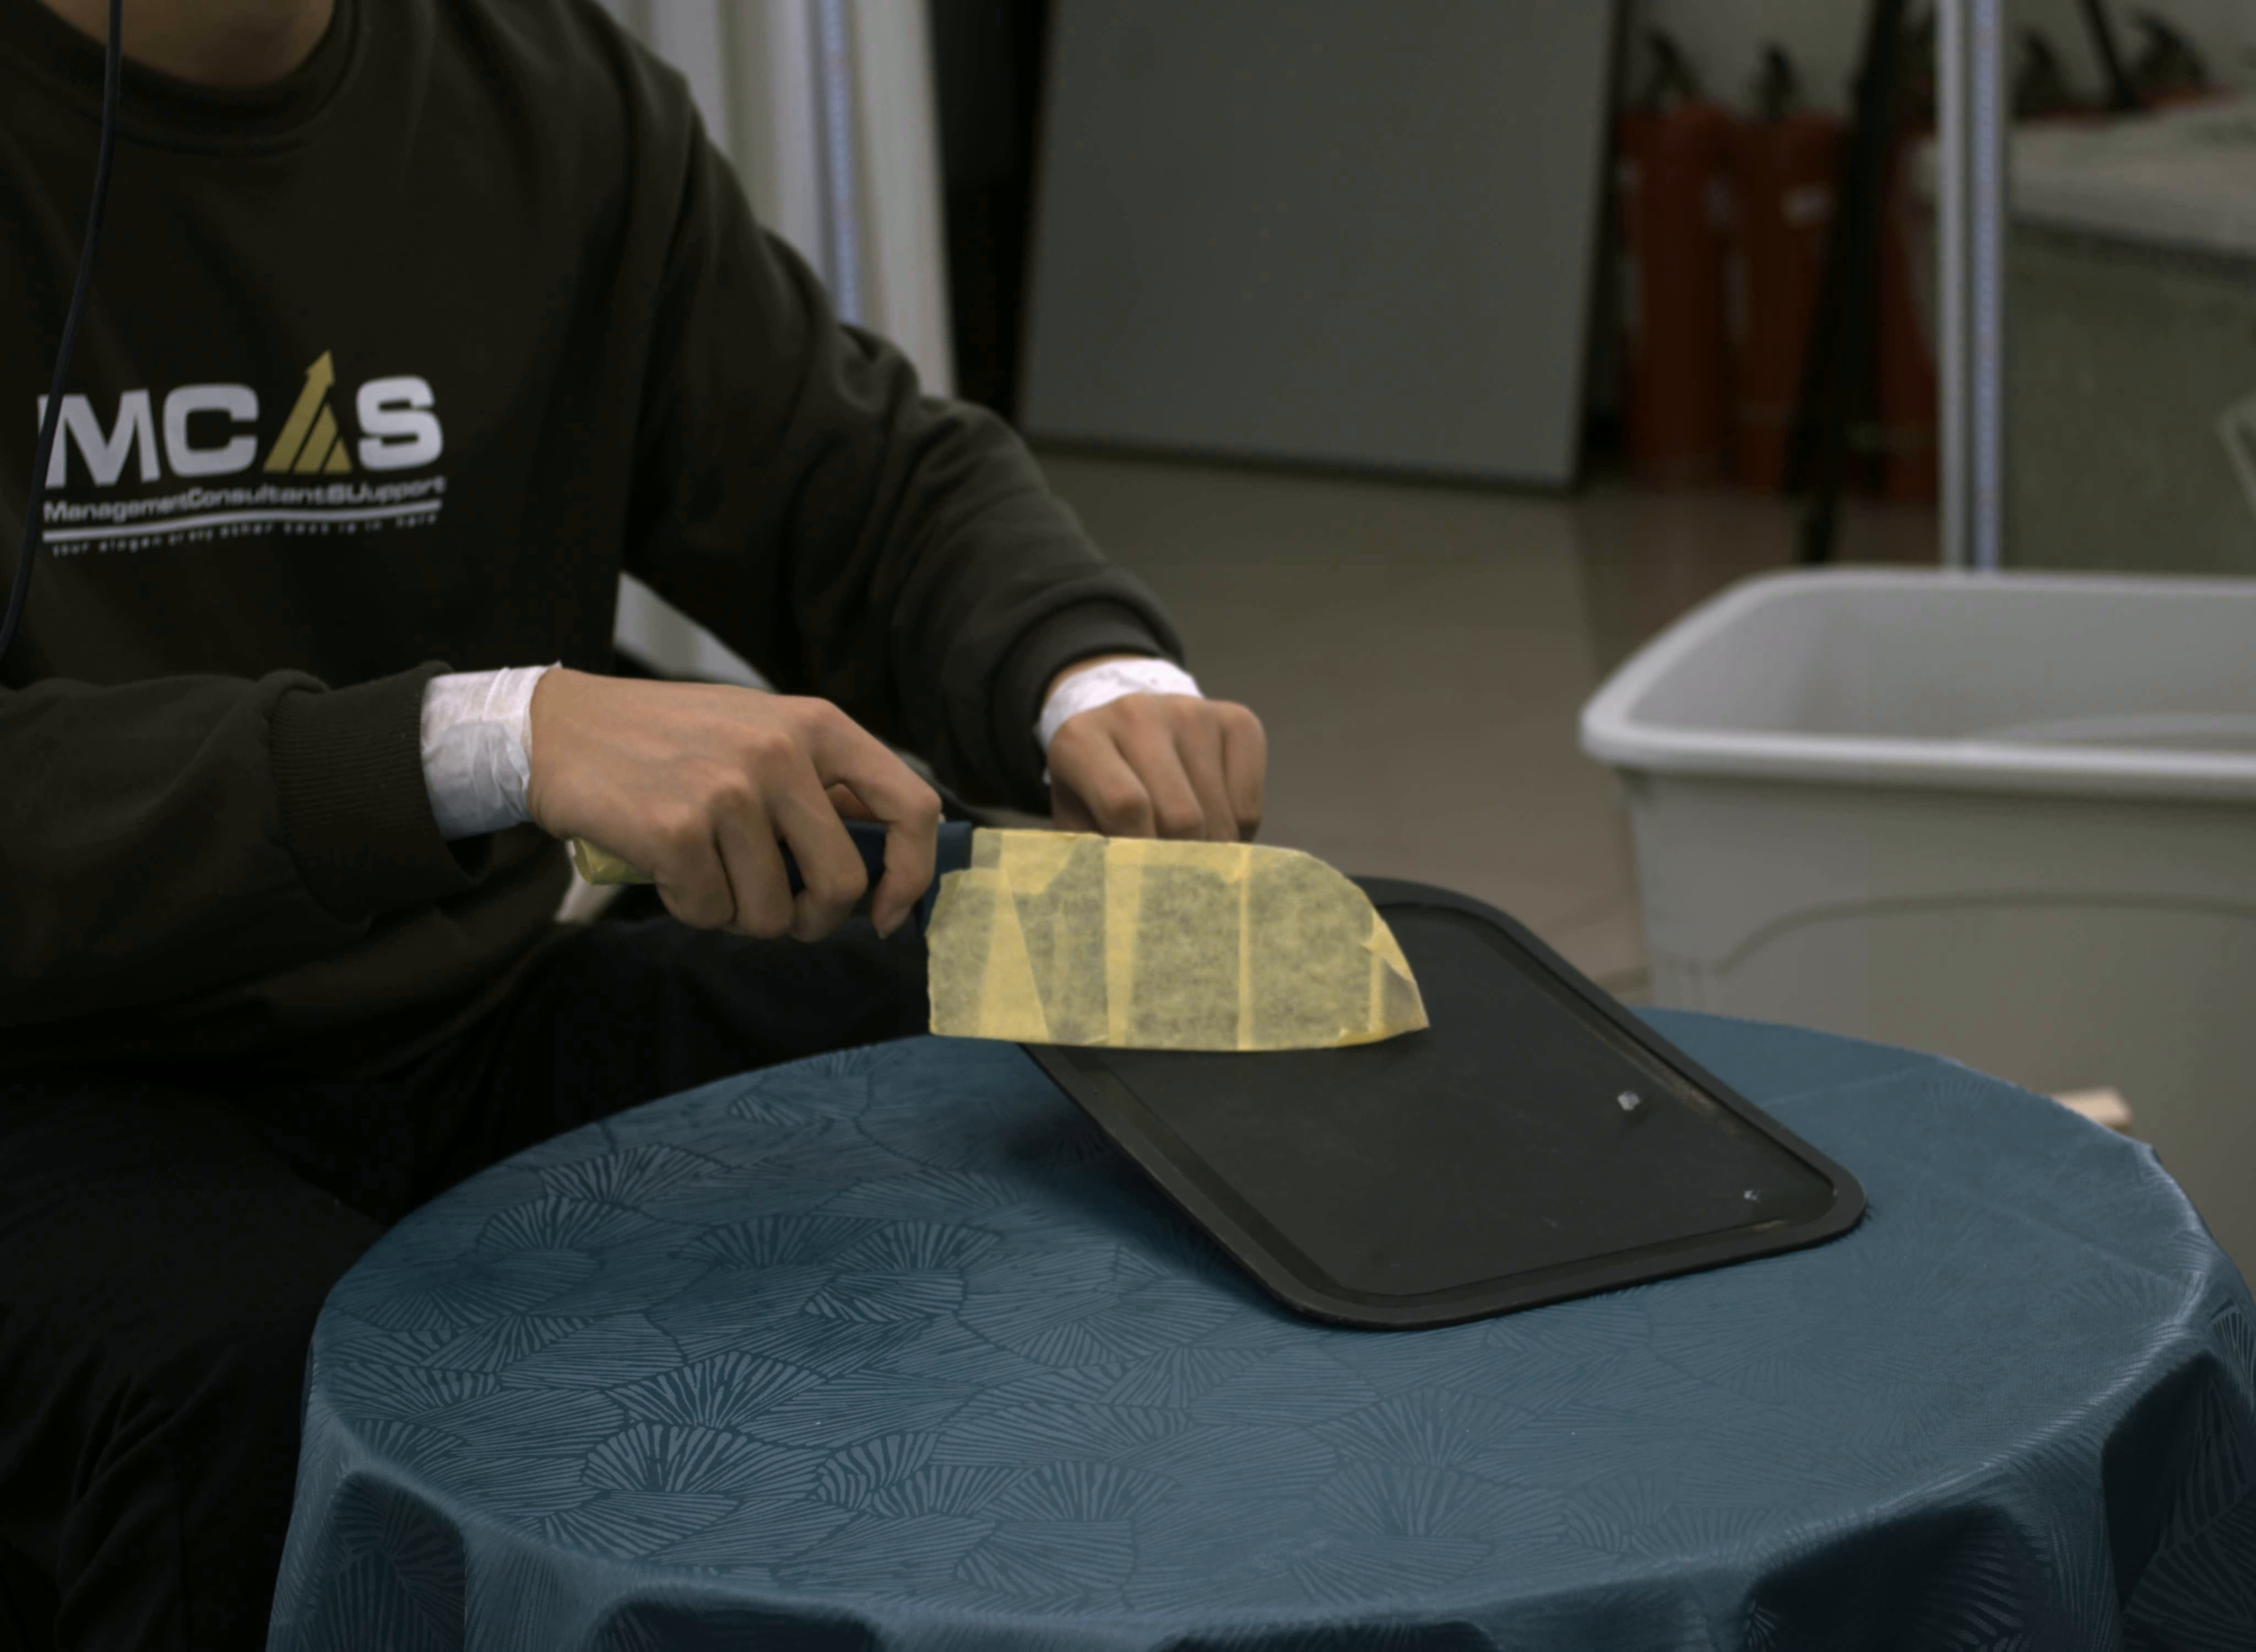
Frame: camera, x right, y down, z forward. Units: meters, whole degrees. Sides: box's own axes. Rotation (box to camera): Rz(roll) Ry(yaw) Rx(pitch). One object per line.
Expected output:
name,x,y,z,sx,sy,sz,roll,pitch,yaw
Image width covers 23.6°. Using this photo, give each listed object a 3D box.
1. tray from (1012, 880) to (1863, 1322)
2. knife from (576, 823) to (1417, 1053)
tray,0.087,0.082,1.782,0.206,0.010,0.329,-9,25,-23
knife,-0.042,0.036,1.800,0.285,0.082,0.027,5,-19,-7
